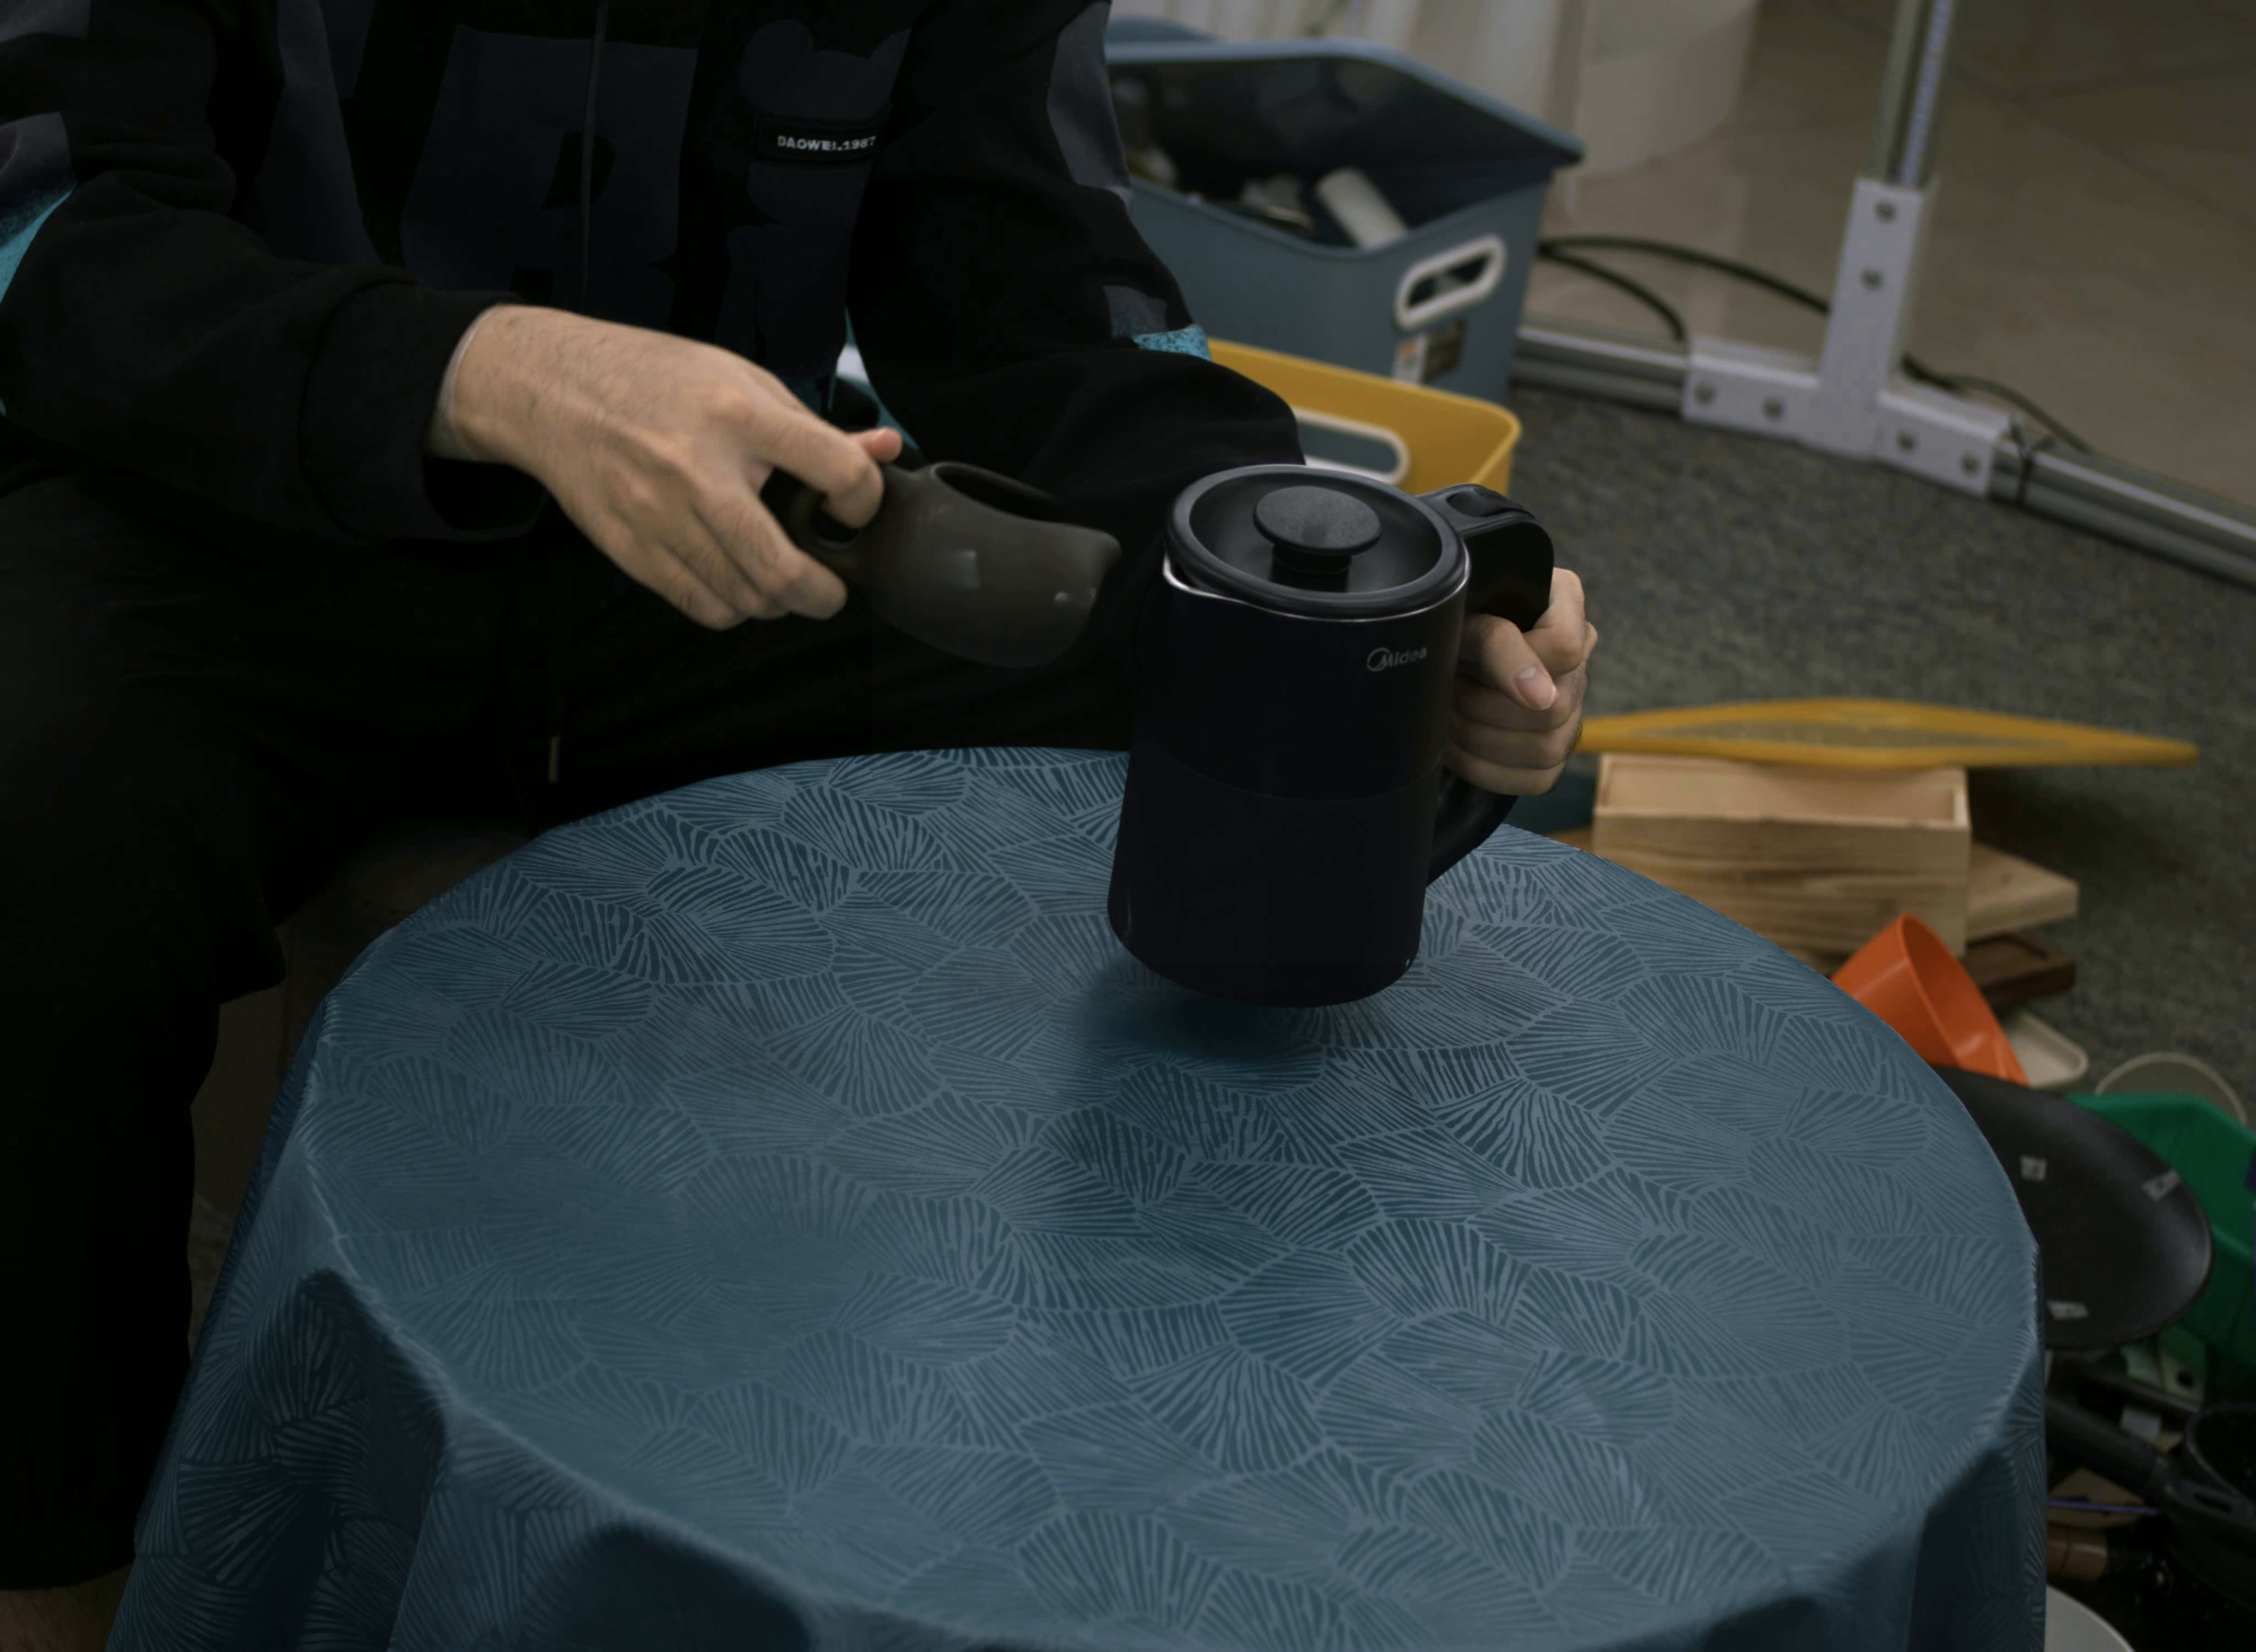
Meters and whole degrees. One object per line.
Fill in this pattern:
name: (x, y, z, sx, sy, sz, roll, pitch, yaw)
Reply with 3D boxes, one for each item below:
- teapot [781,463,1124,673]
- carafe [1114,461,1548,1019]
teapot: (-0.060, -0.088, 1.759, 0.113, 0.053, 0.083, 19, 13, -16)
carafe: (0.075, -0.042, 1.889, 0.171, 0.173, 0.115, -19, 36, -34)
